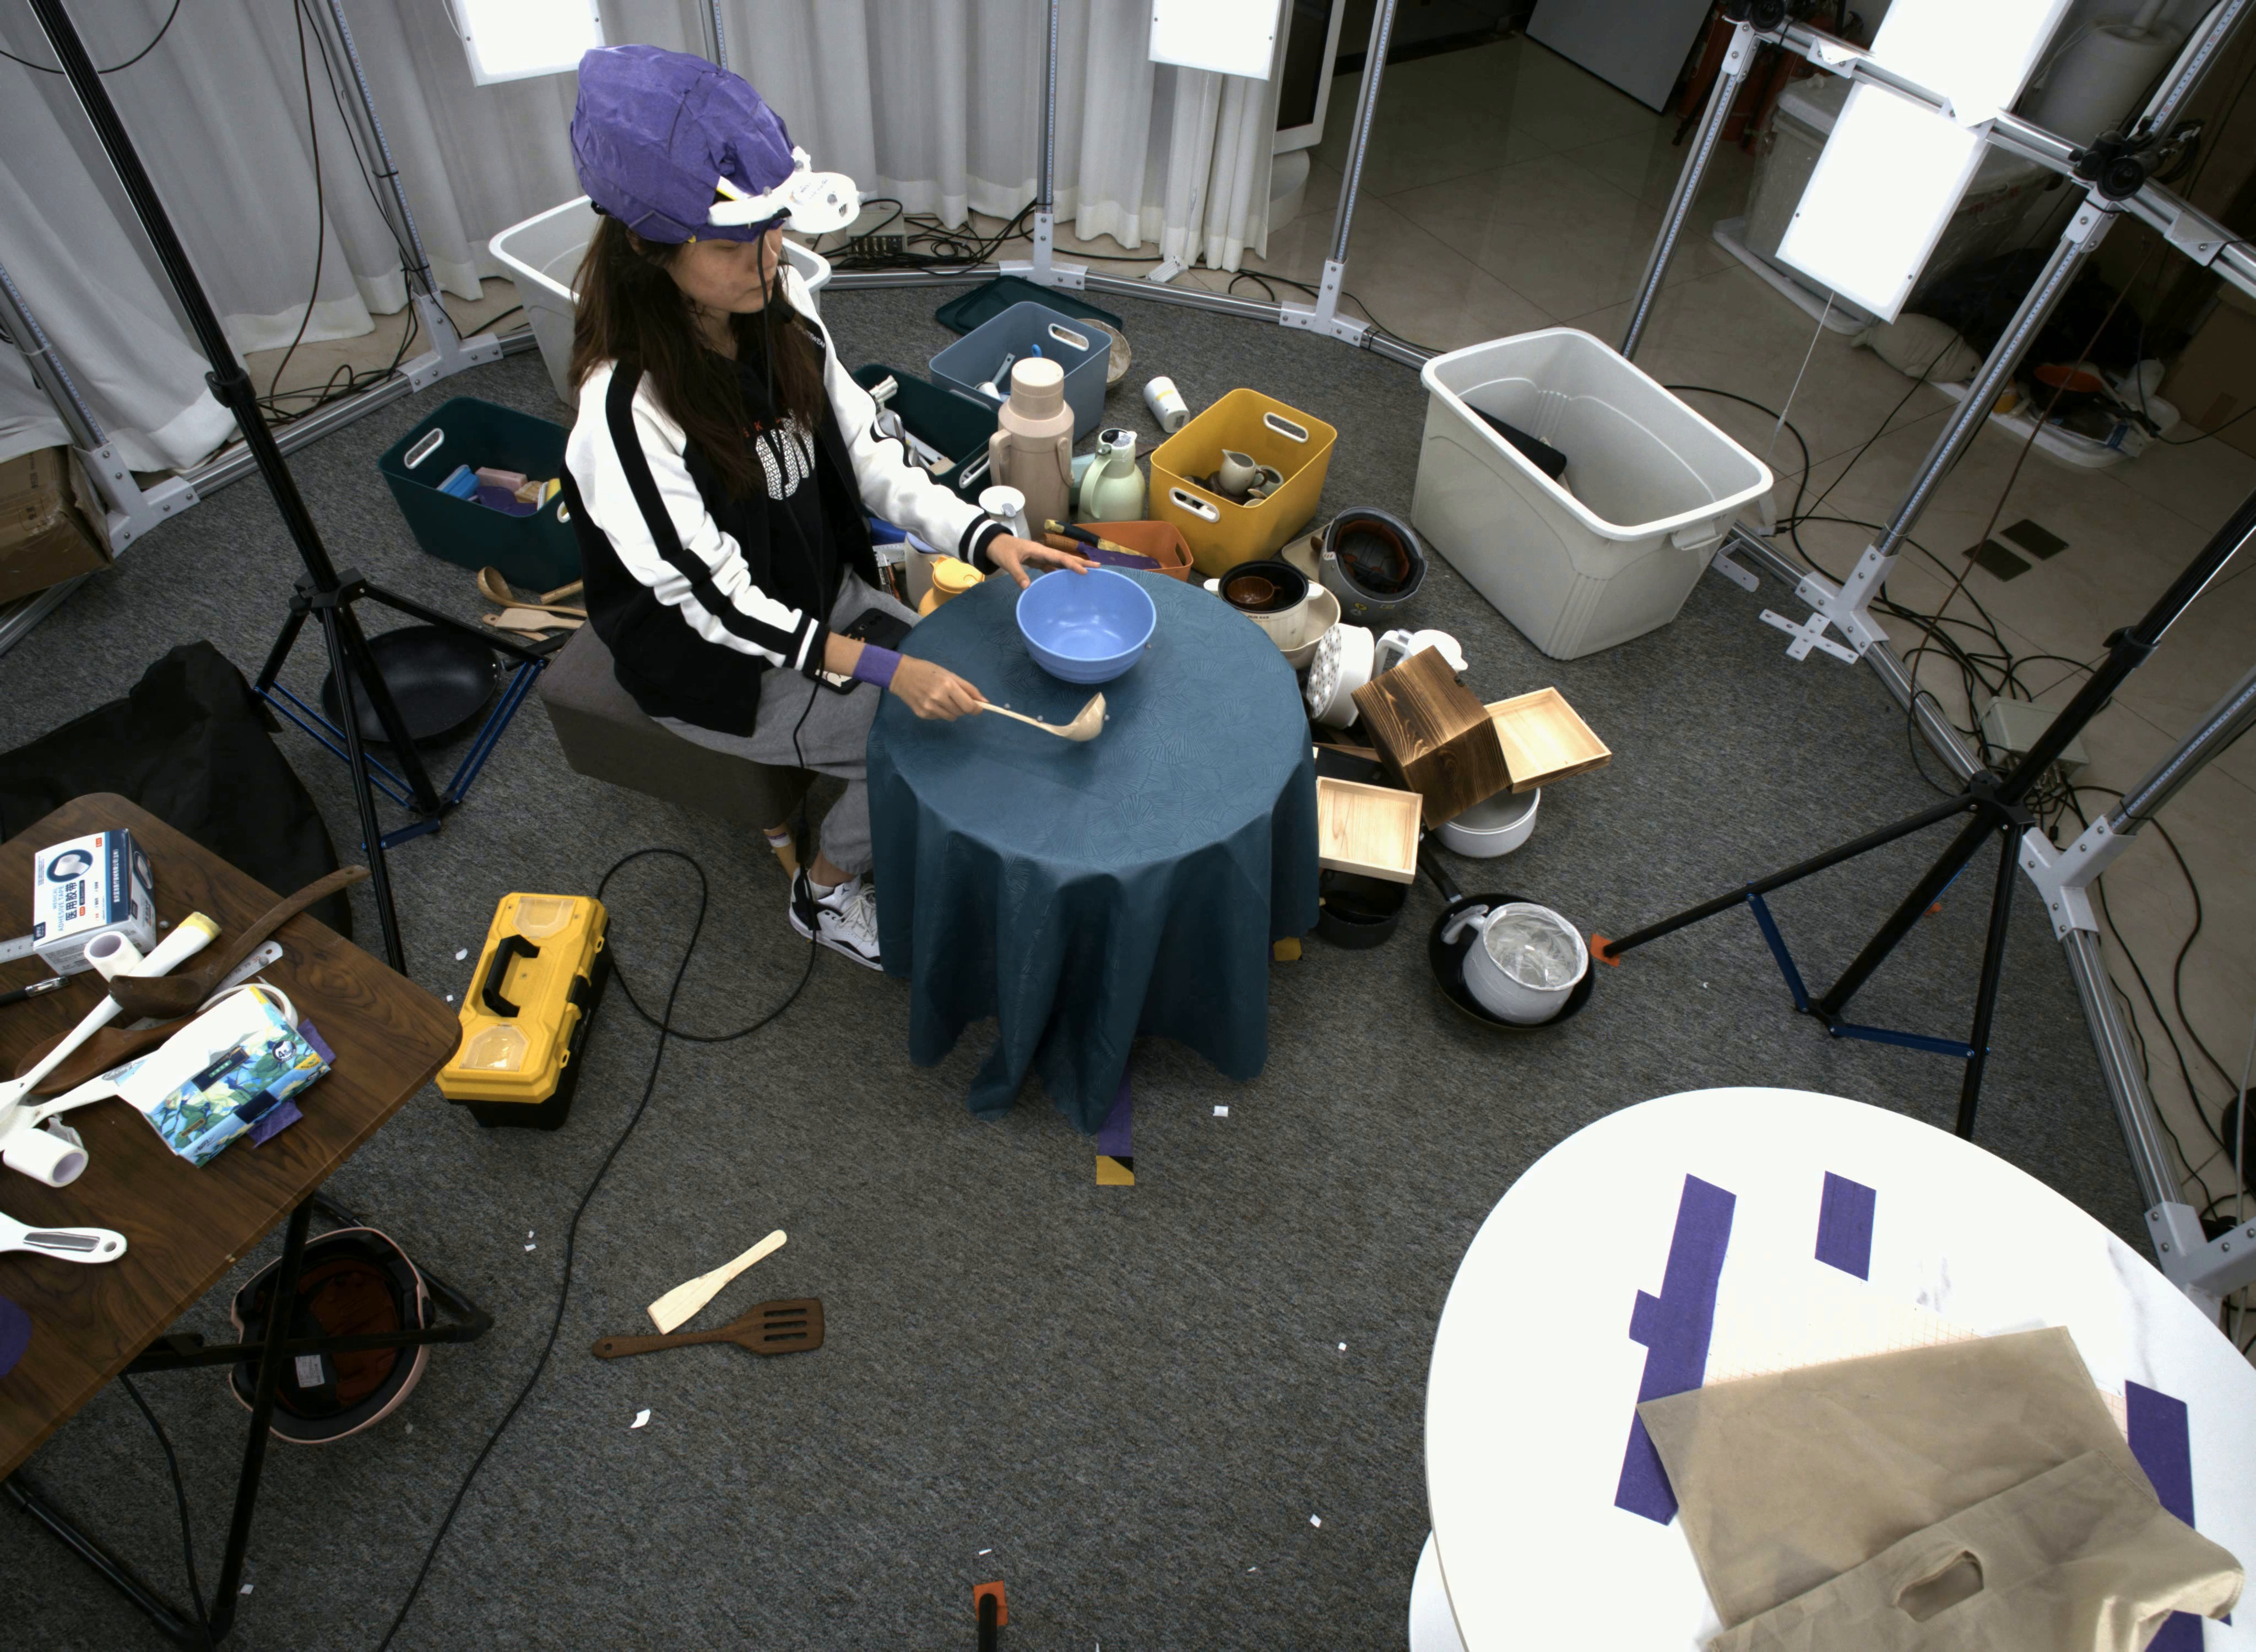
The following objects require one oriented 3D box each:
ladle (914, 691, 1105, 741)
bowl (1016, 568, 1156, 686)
[{"bbox_3d":[-0.156,-0.174,1.716,0.254,0.071,0.073,15,27,0],"label":"ladle"},{"bbox_3d":[-0.061,-0.269,1.843,0.196,0.093,0.201,1,51,-2],"label":"bowl"}]
